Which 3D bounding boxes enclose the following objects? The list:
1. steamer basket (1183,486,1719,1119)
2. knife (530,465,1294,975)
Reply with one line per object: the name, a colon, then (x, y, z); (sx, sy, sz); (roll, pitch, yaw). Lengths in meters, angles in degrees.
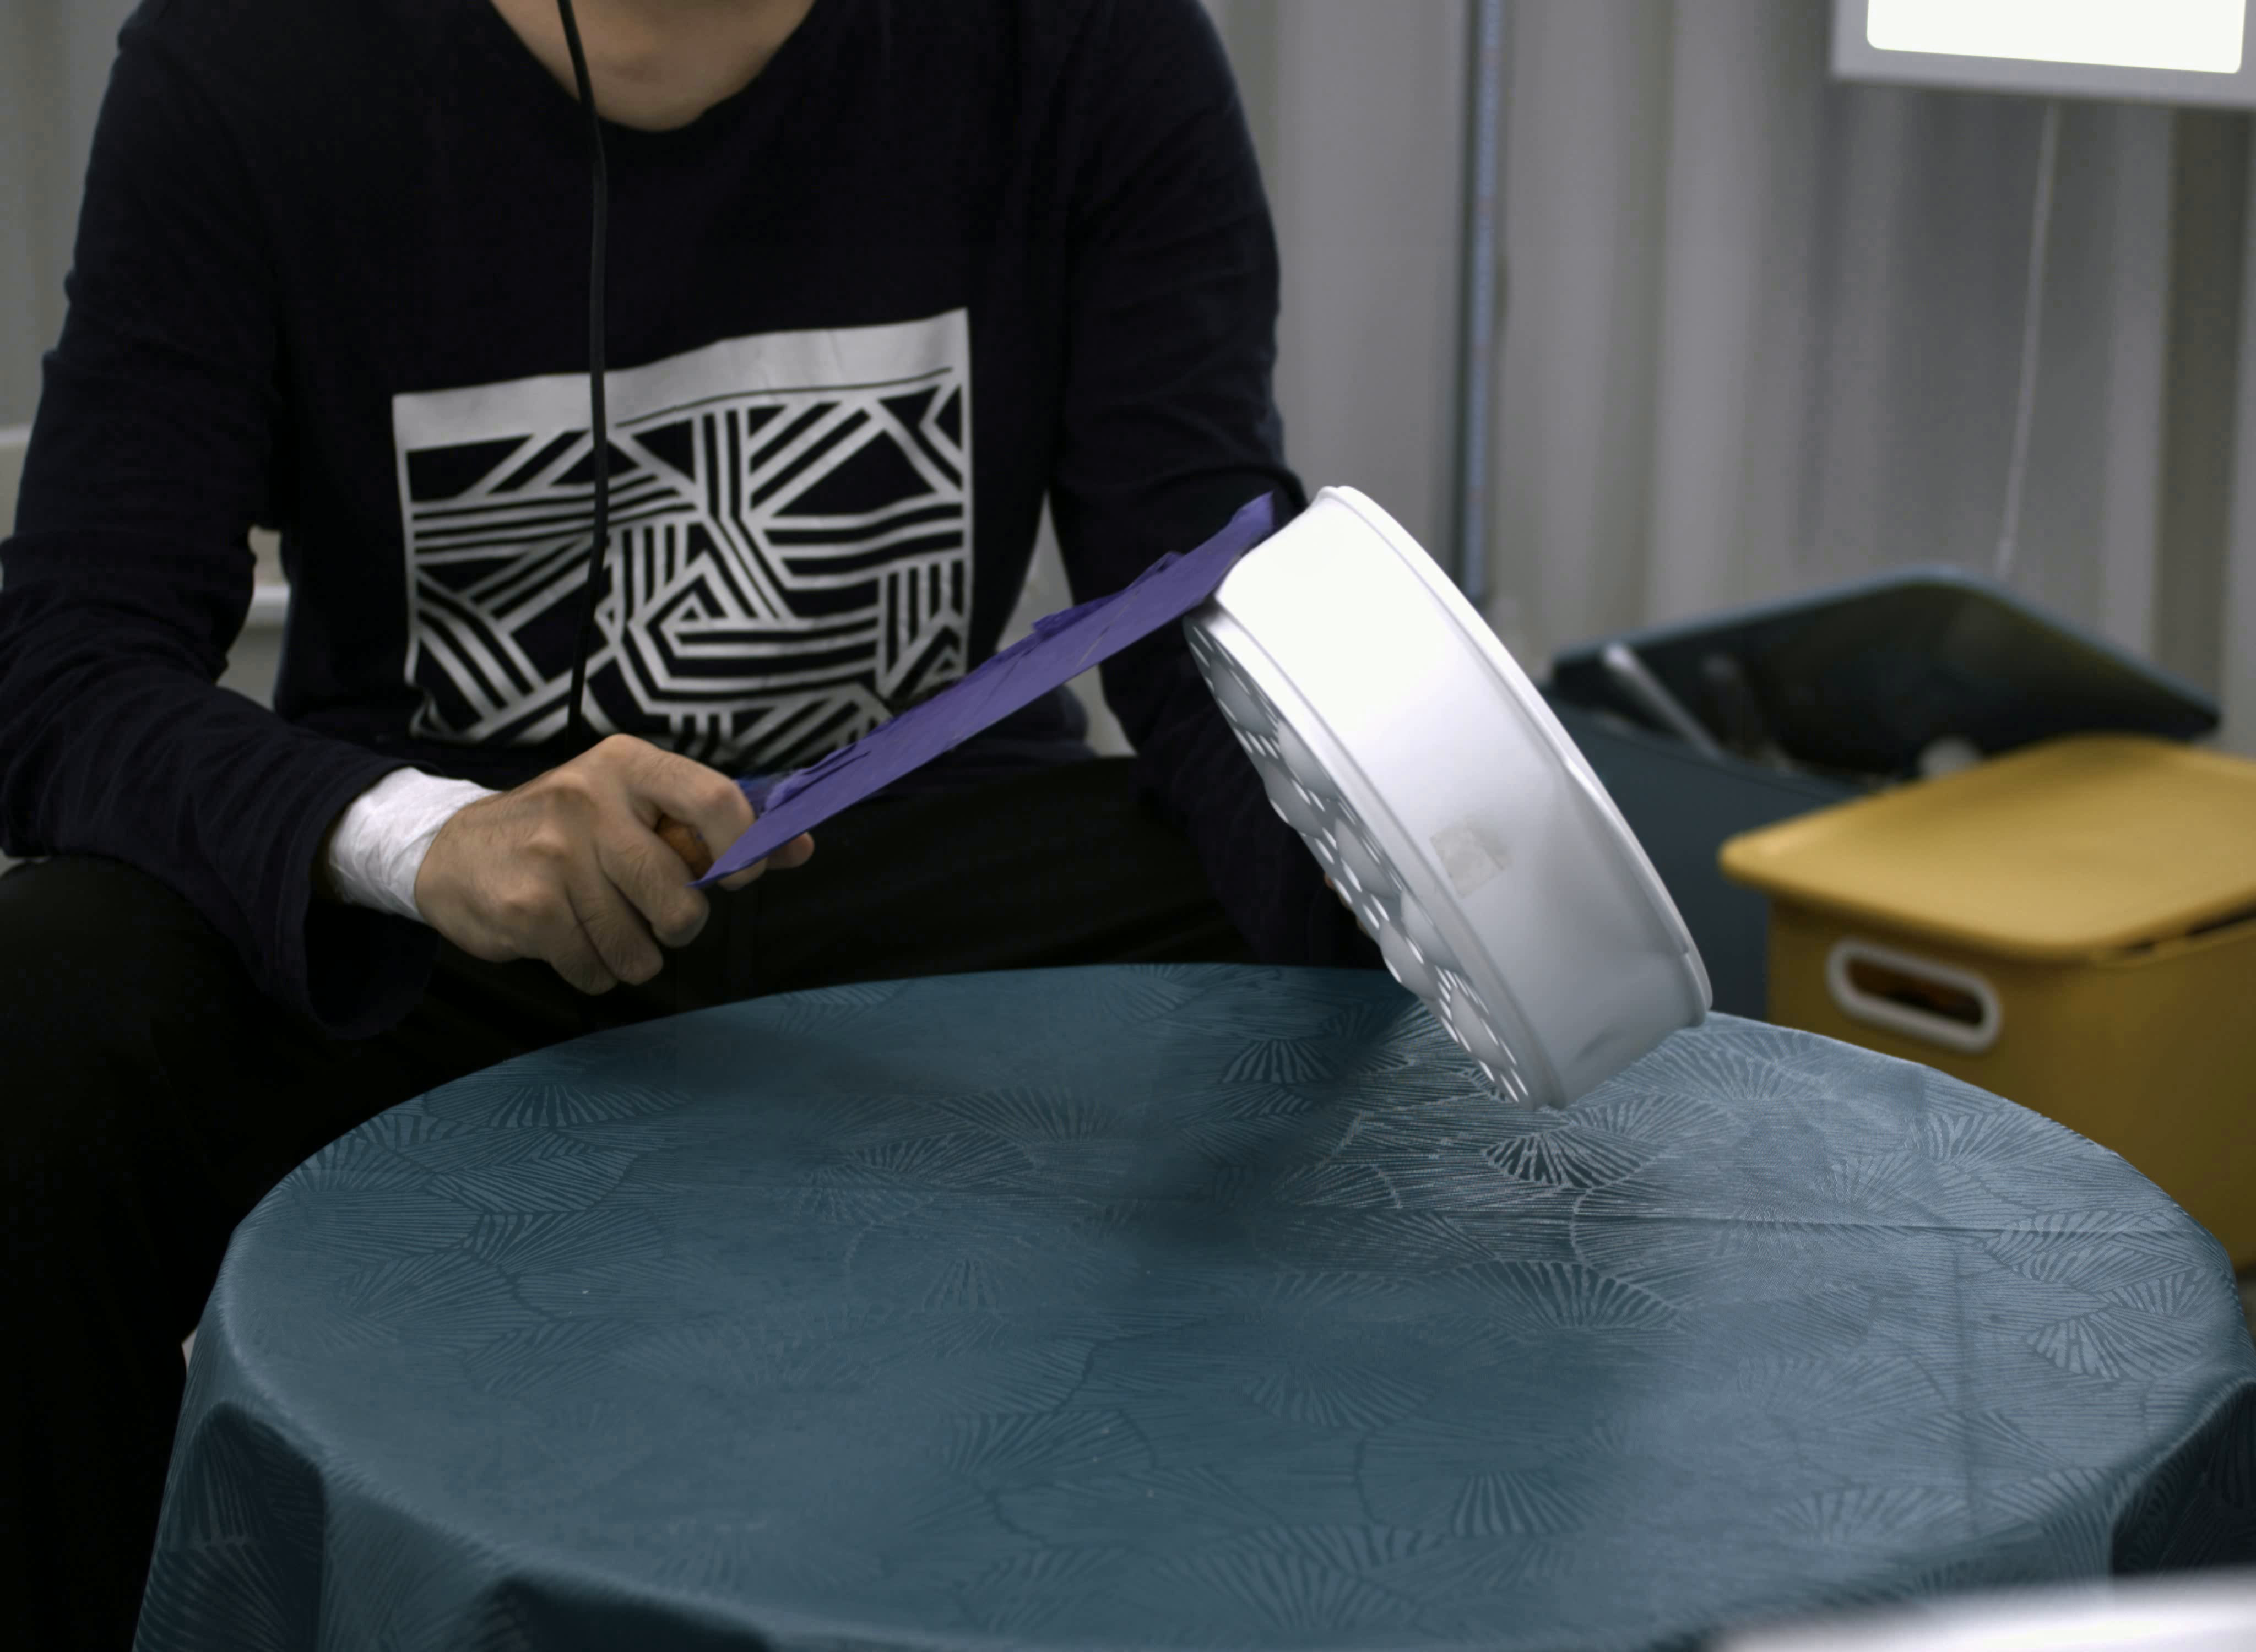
steamer basket: (0.094, -0.003, 1.595); (0.069, 0.204, 0.228); (-35, 26, -6)
knife: (-0.083, -0.025, 1.667); (0.314, 0.032, 0.103); (-32, 8, 27)
